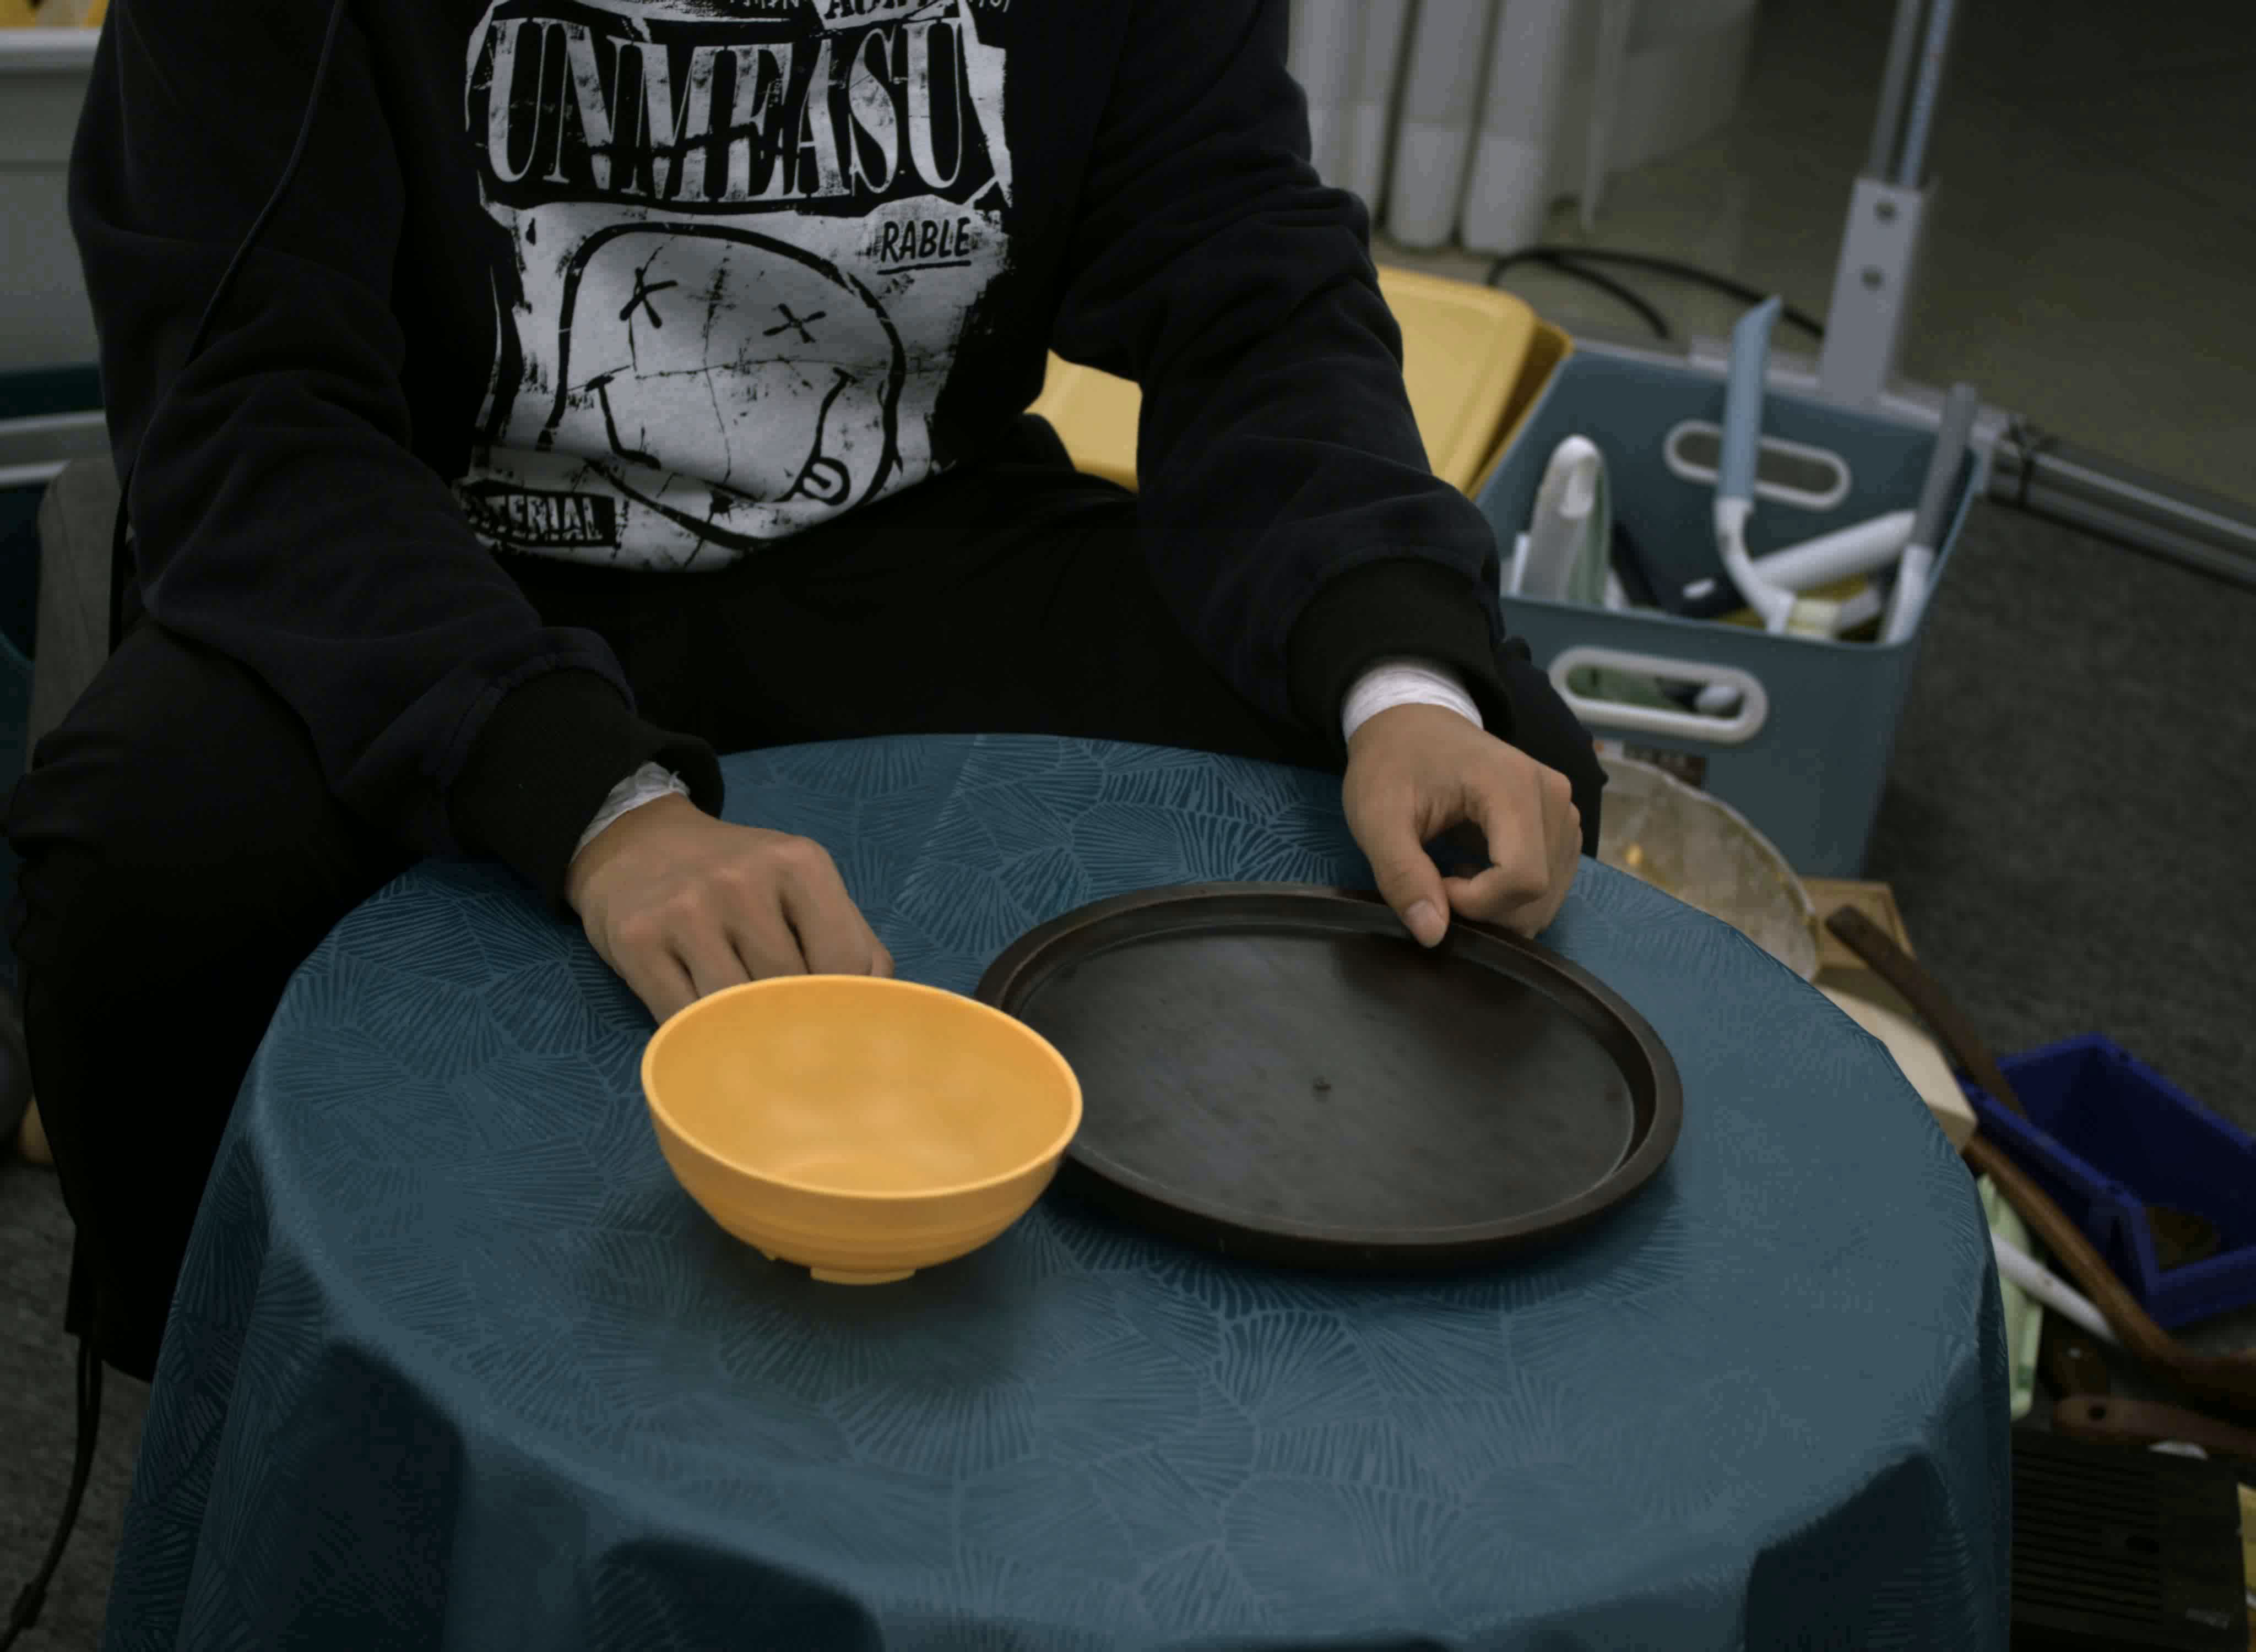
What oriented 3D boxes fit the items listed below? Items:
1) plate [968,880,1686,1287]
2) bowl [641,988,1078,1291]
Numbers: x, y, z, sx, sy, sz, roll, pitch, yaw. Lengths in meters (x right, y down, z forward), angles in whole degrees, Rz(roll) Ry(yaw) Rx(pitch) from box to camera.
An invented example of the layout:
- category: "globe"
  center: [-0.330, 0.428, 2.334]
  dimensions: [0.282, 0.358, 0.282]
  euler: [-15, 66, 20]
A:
- category: "plate"
  center: [0.069, 0.088, 1.862]
  dimensions: [0.254, 0.029, 0.256]
  euler: [3, 27, -2]
- category: "bowl"
  center: [-0.091, 0.111, 1.744]
  dimensions: [0.145, 0.060, 0.146]
  euler: [6, 24, -3]
